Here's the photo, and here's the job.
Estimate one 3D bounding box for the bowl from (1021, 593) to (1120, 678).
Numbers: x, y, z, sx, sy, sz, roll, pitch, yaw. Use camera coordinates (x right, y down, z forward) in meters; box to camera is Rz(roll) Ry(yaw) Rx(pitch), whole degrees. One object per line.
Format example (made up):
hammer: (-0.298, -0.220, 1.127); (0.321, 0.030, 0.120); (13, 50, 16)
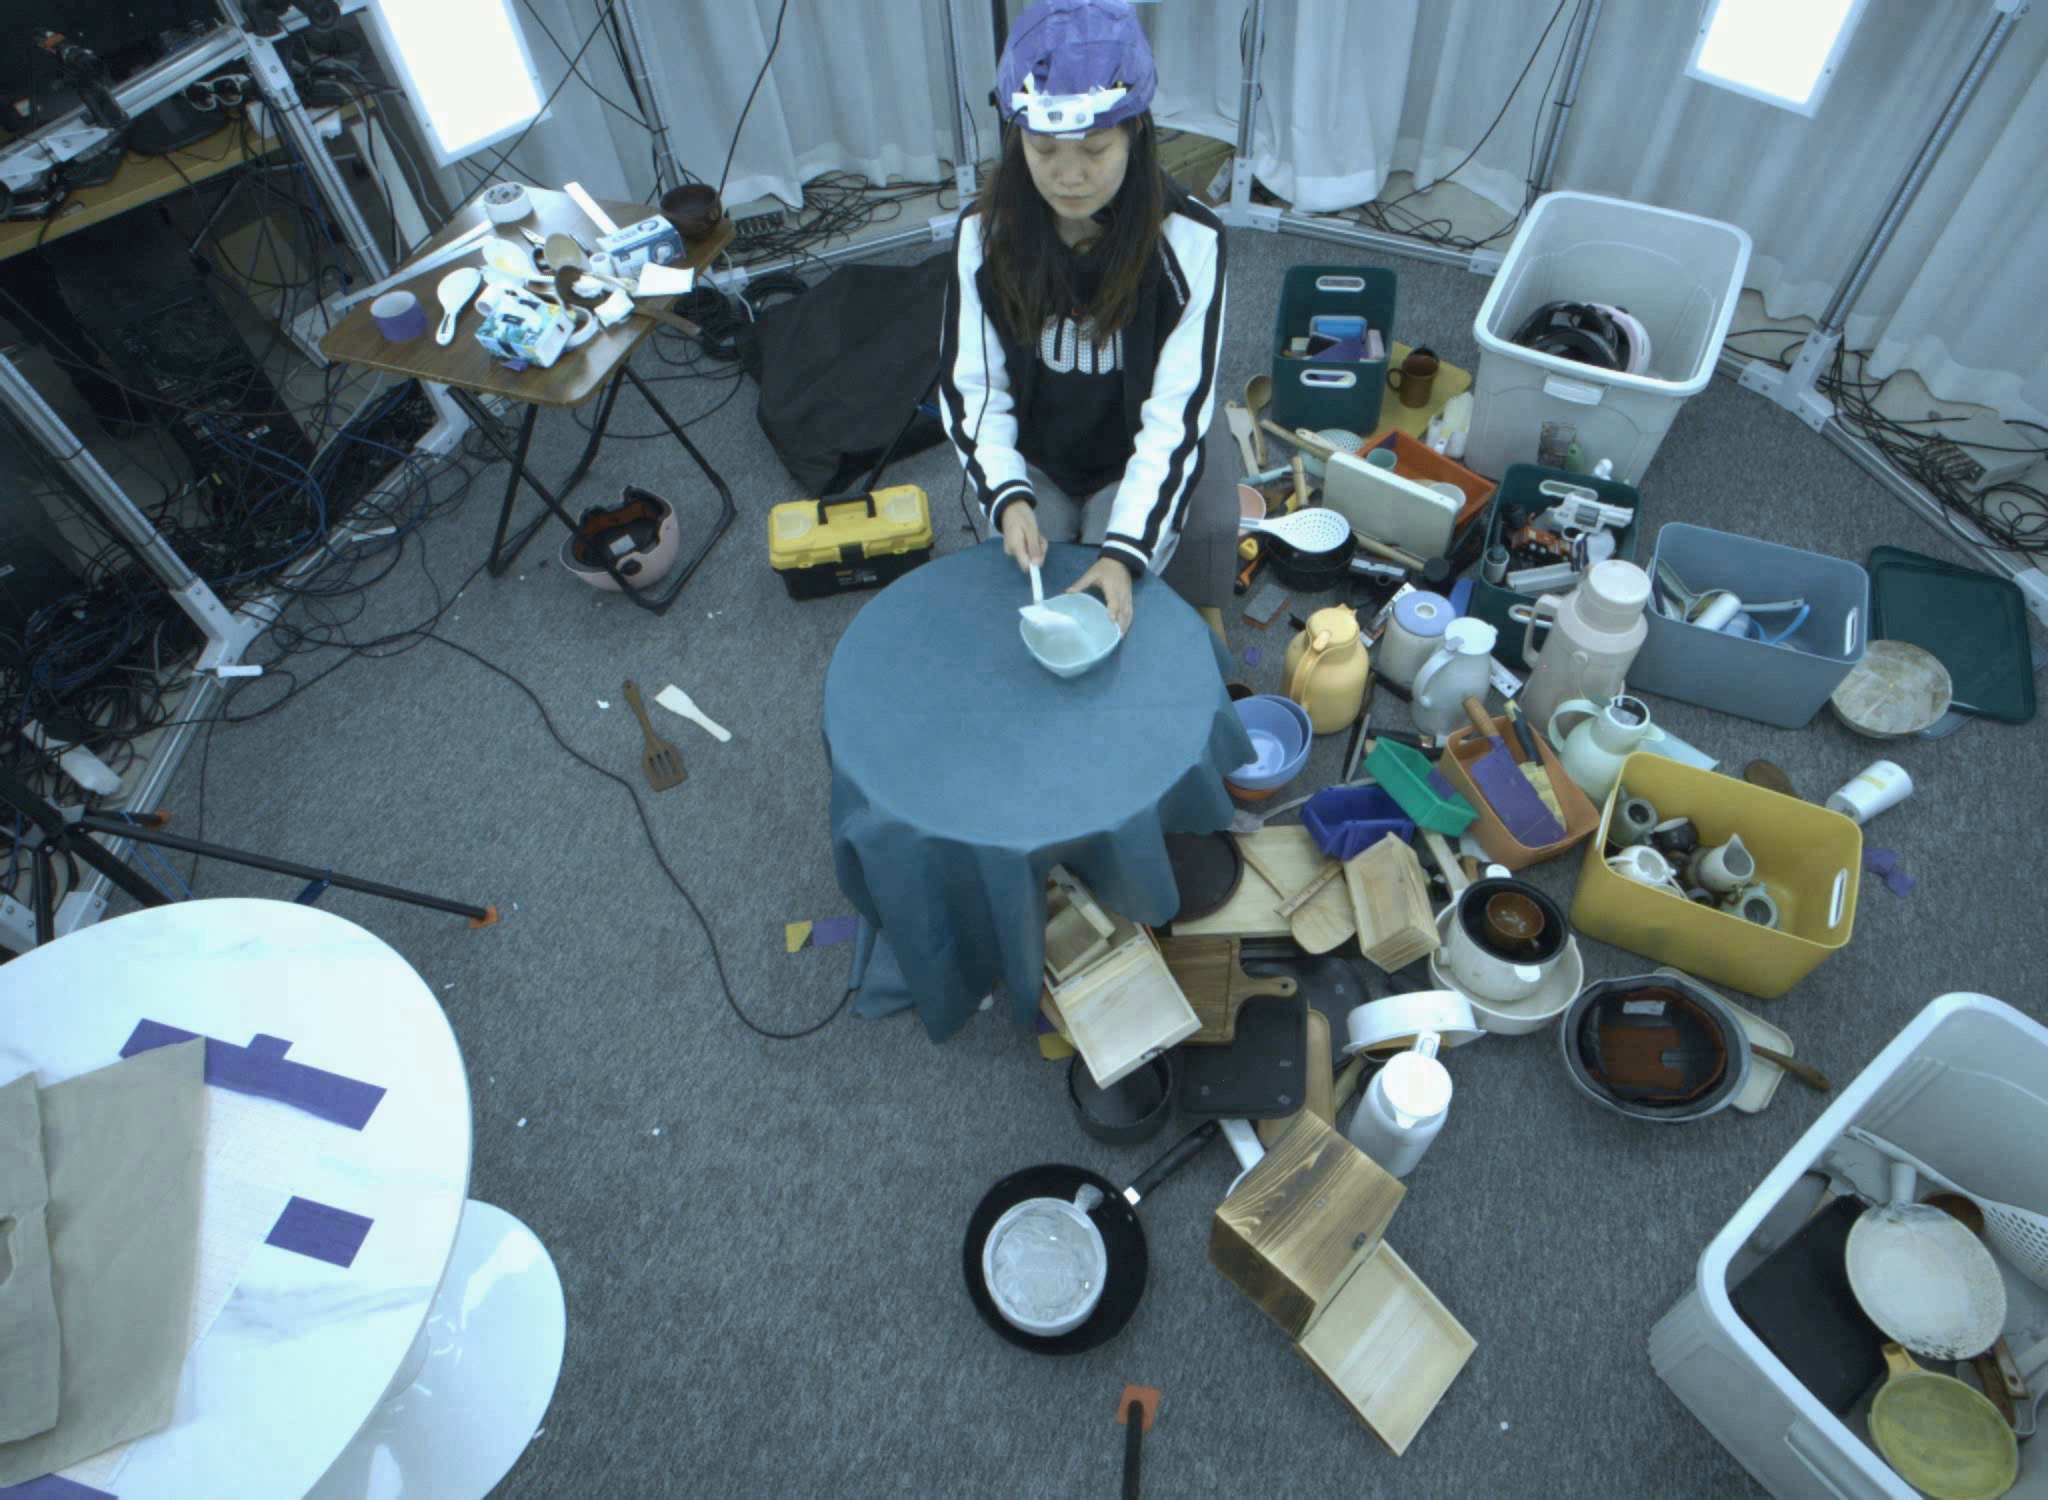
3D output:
bowl: (0.071, -0.165, 1.870); (0.151, 0.059, 0.150); (0, 55, 2)

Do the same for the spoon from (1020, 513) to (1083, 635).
spoon: (0.036, -0.276, 1.868); (0.102, 0.059, 0.274); (15, 53, -26)
